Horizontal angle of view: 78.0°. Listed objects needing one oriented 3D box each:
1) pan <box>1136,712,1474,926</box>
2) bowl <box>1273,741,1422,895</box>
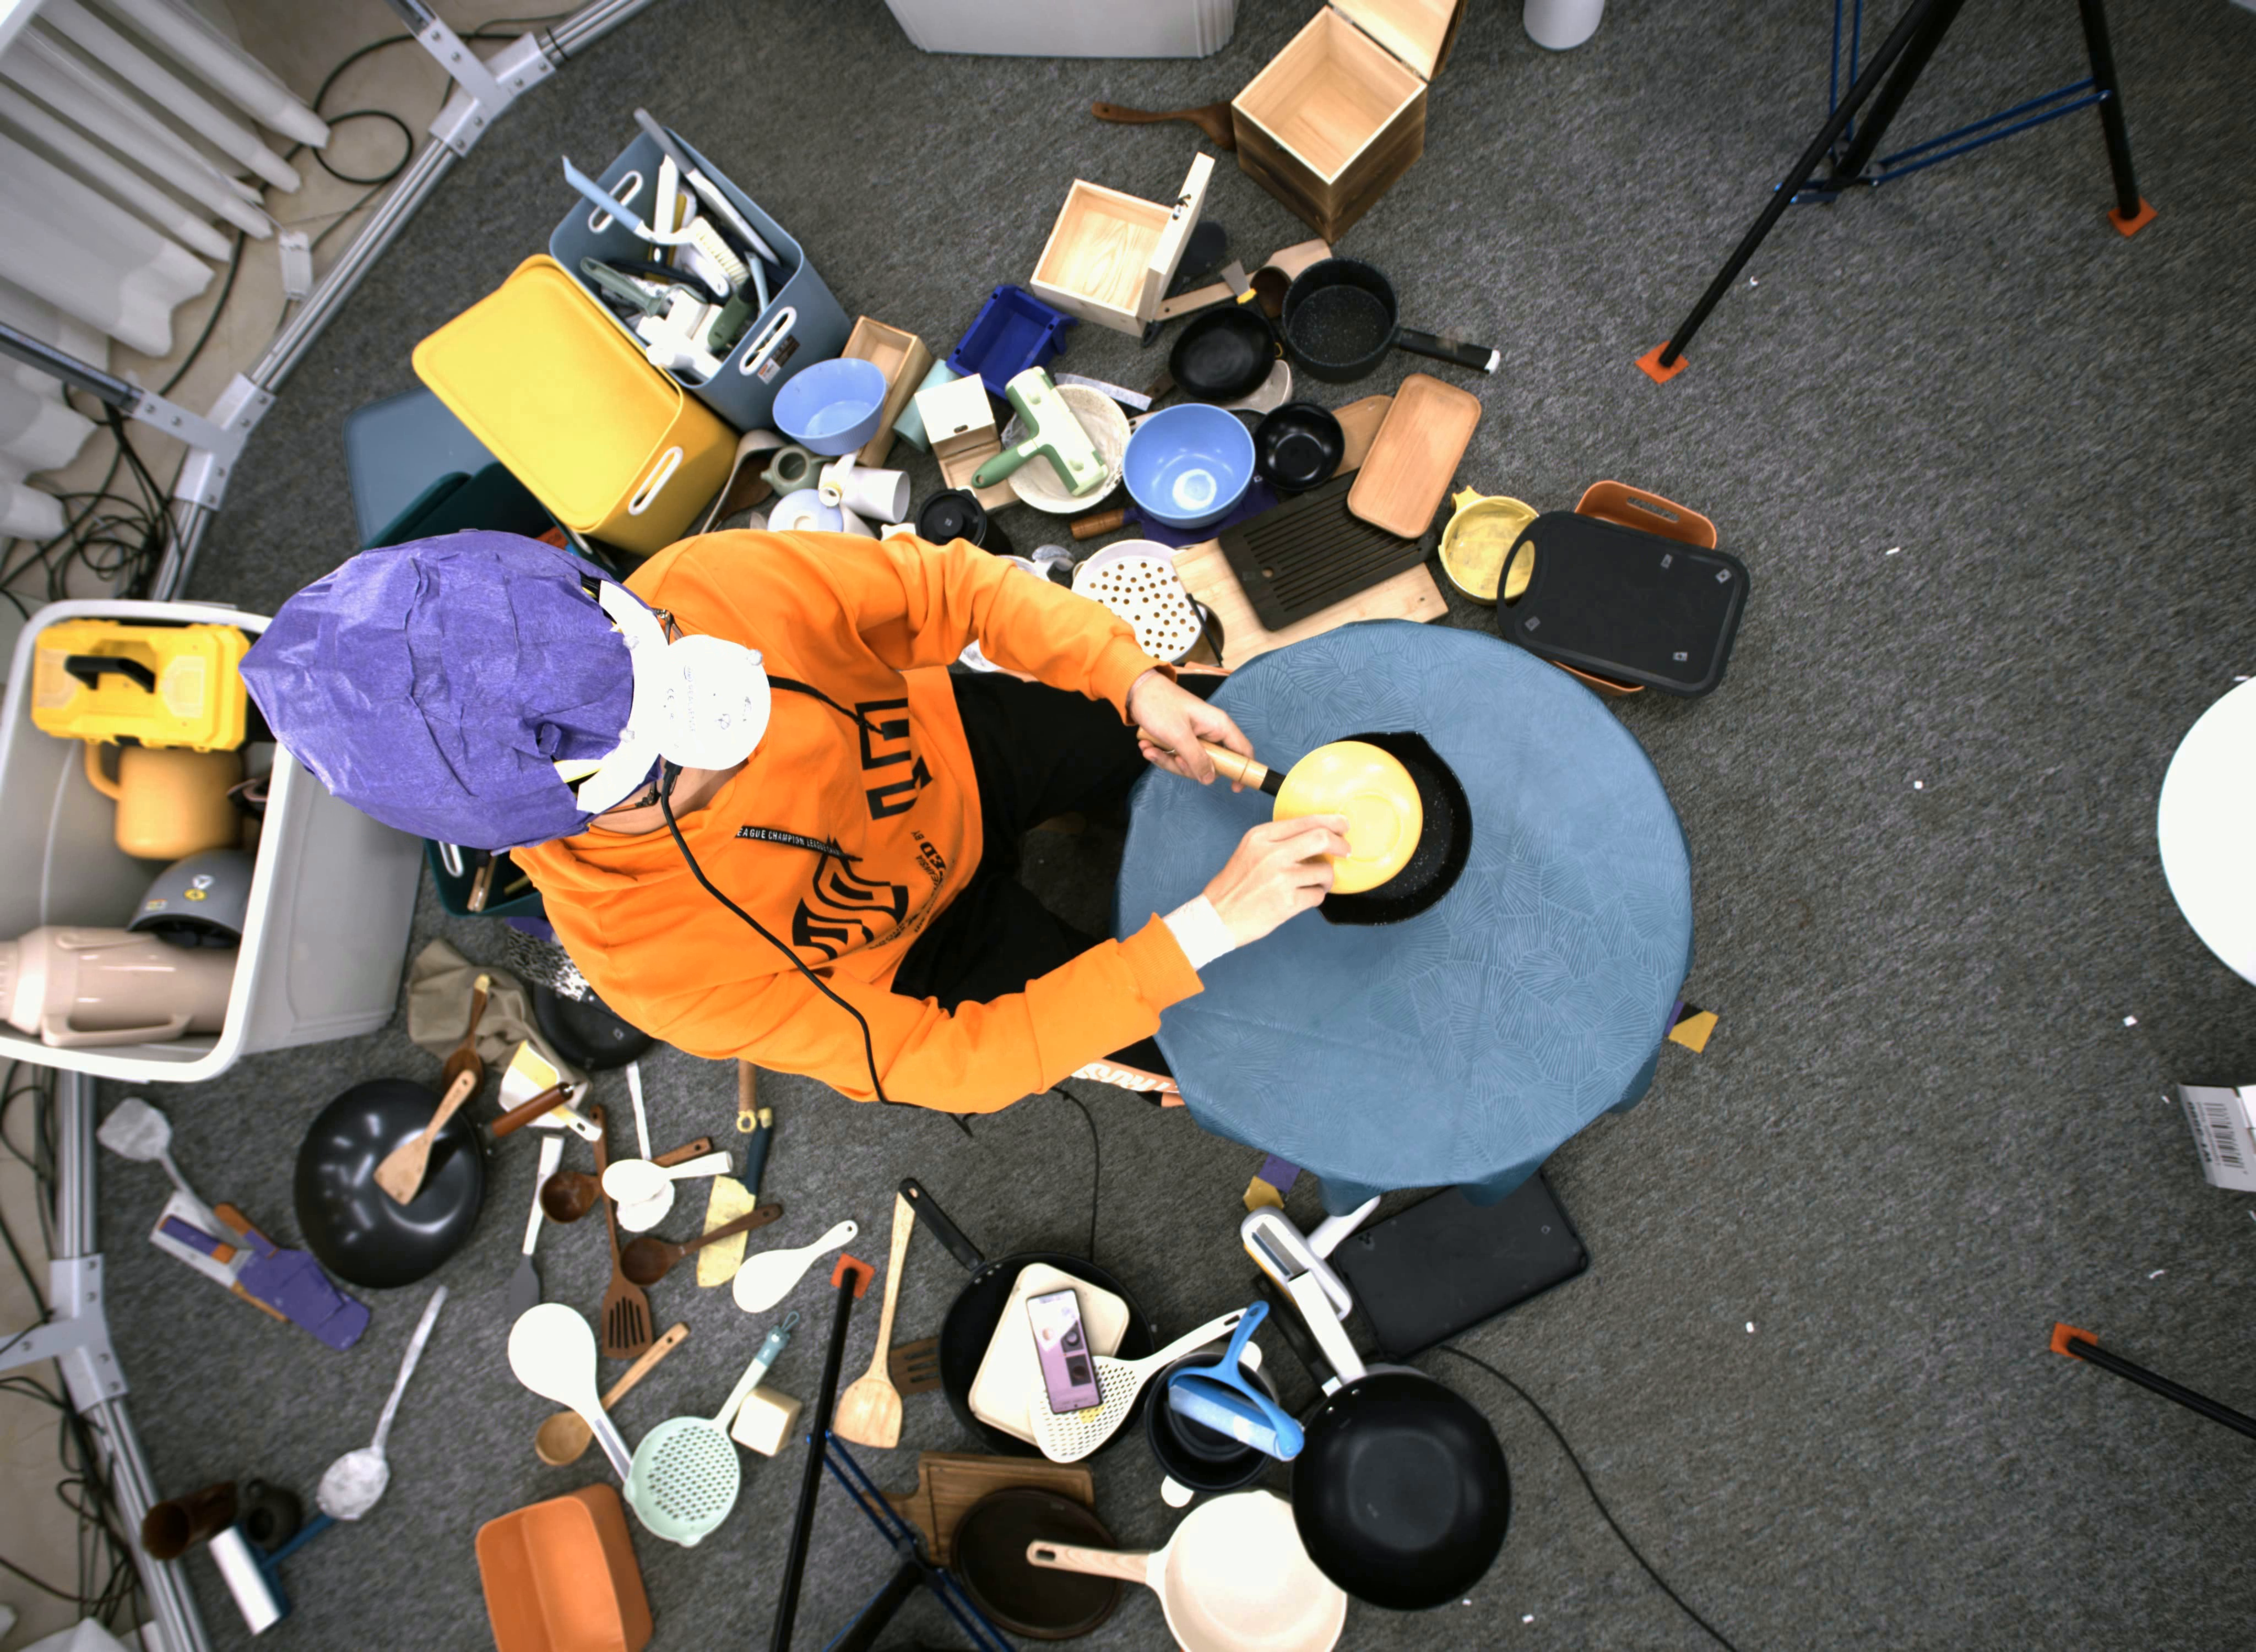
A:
[{"bbox_3d":[0.170,-0.030,1.352,0.342,0.107,0.209,24,100,11],"label":"pan"},{"bbox_3d":[0.208,-0.004,1.254,0.145,0.059,0.146,-2,102,-10],"label":"bowl"}]
